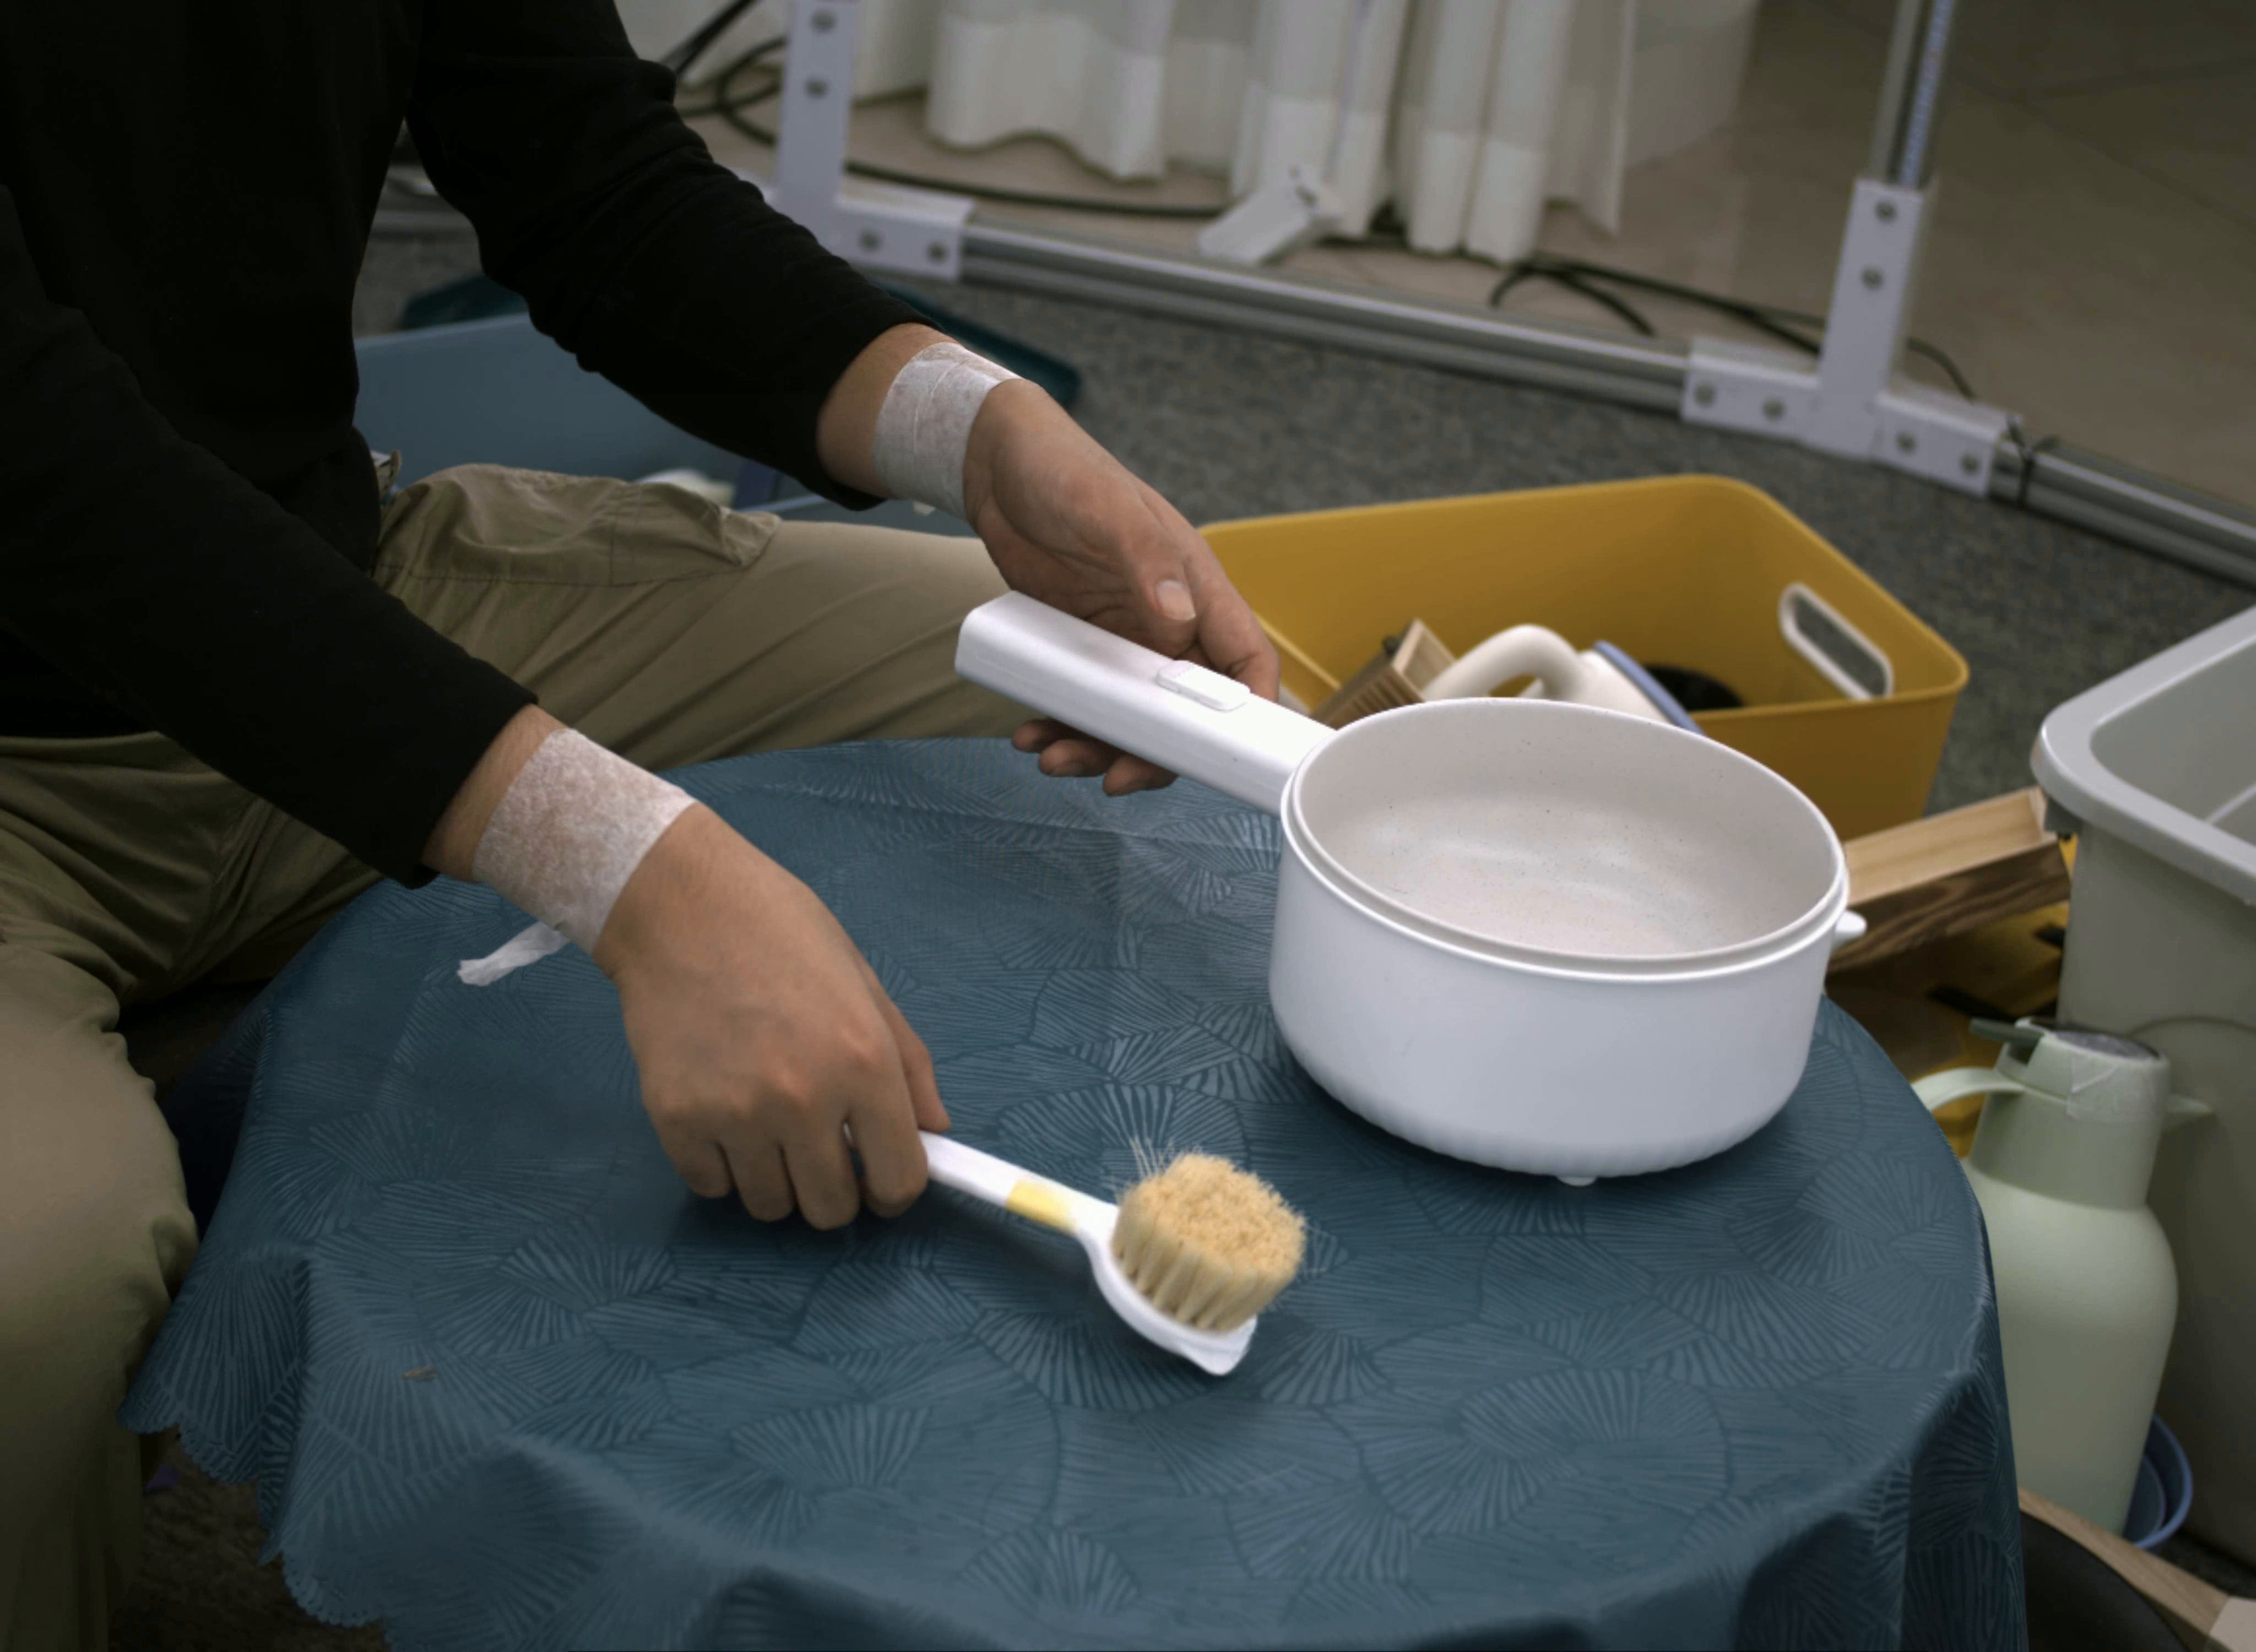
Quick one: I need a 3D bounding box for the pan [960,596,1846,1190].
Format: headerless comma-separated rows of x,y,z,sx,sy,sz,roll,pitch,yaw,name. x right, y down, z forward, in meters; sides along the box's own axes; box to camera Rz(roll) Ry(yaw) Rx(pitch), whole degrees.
0.086,0.019,1.922,0.357,0.102,0.200,22,32,30,pan

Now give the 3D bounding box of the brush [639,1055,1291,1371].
-0.059,0.105,1.761,0.268,0.056,0.068,24,14,34,brush
